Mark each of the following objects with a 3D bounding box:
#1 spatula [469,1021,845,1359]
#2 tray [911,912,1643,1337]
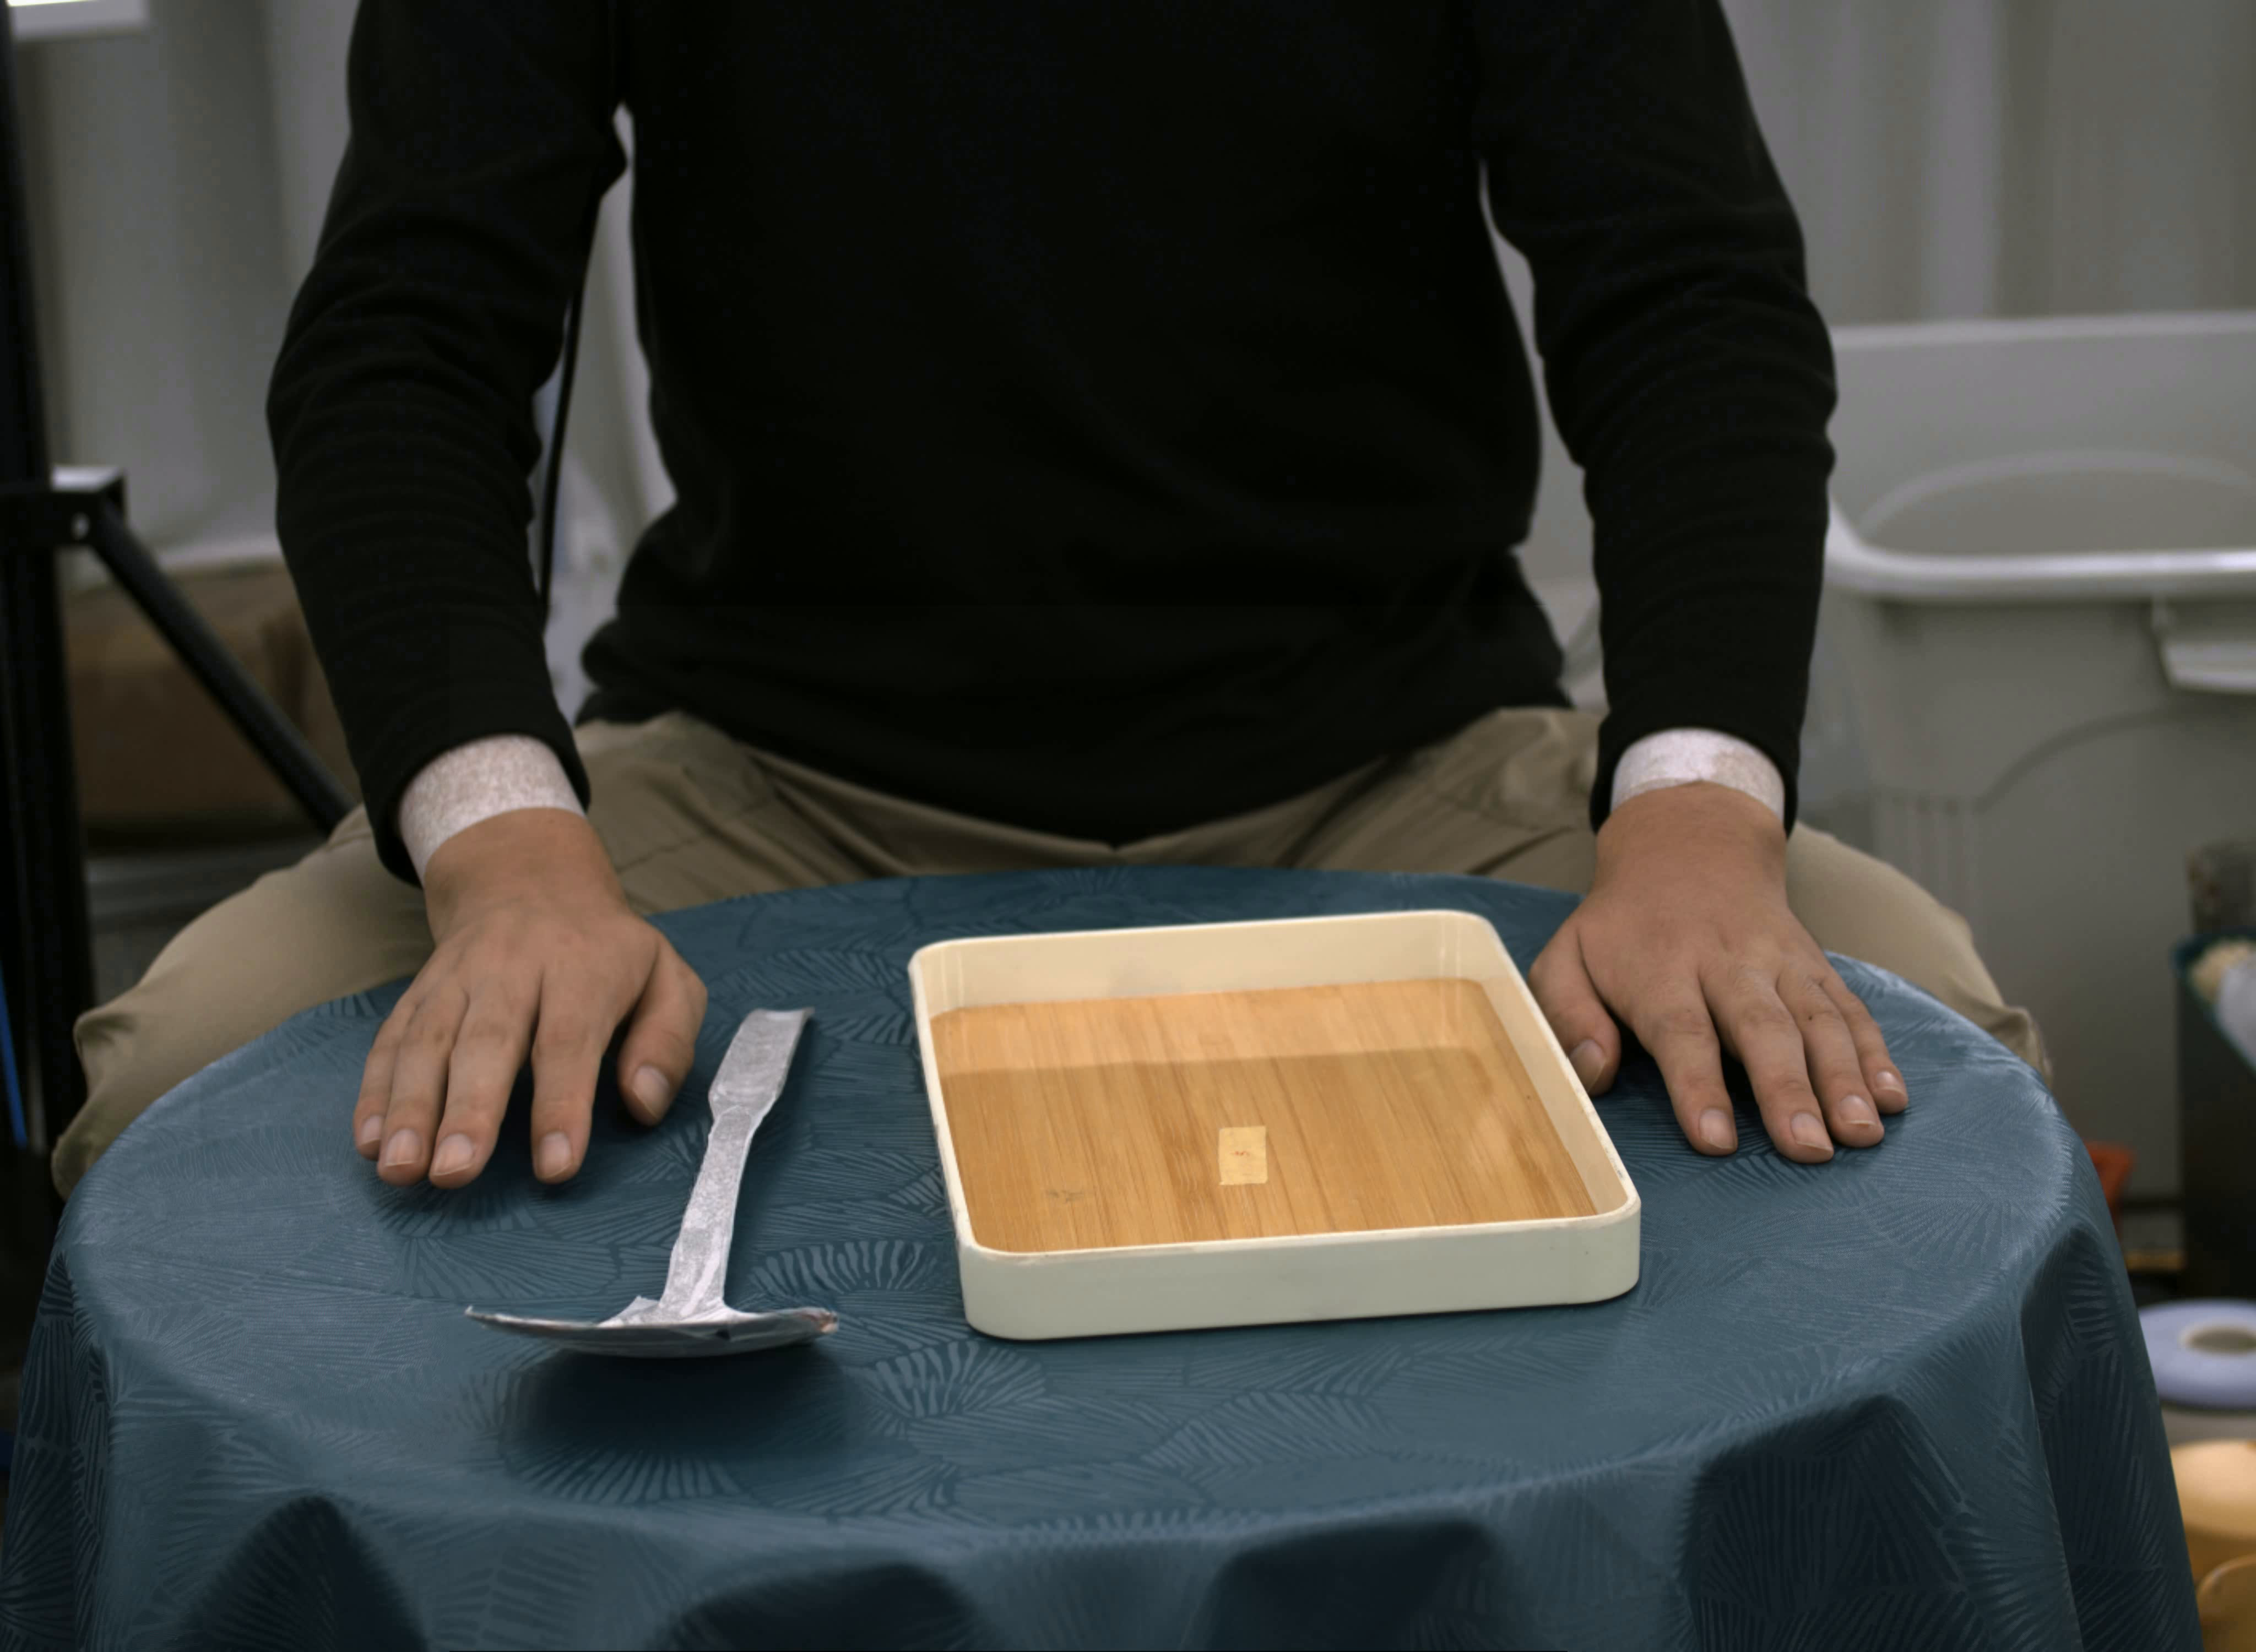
[{"bbox_3d":[-0.116,0.096,1.547,0.098,0.045,0.365,-2,16,3],"label":"spatula"},{"bbox_3d":[0.037,0.085,1.584,0.190,0.027,0.302,-4,16,-3],"label":"tray"}]
